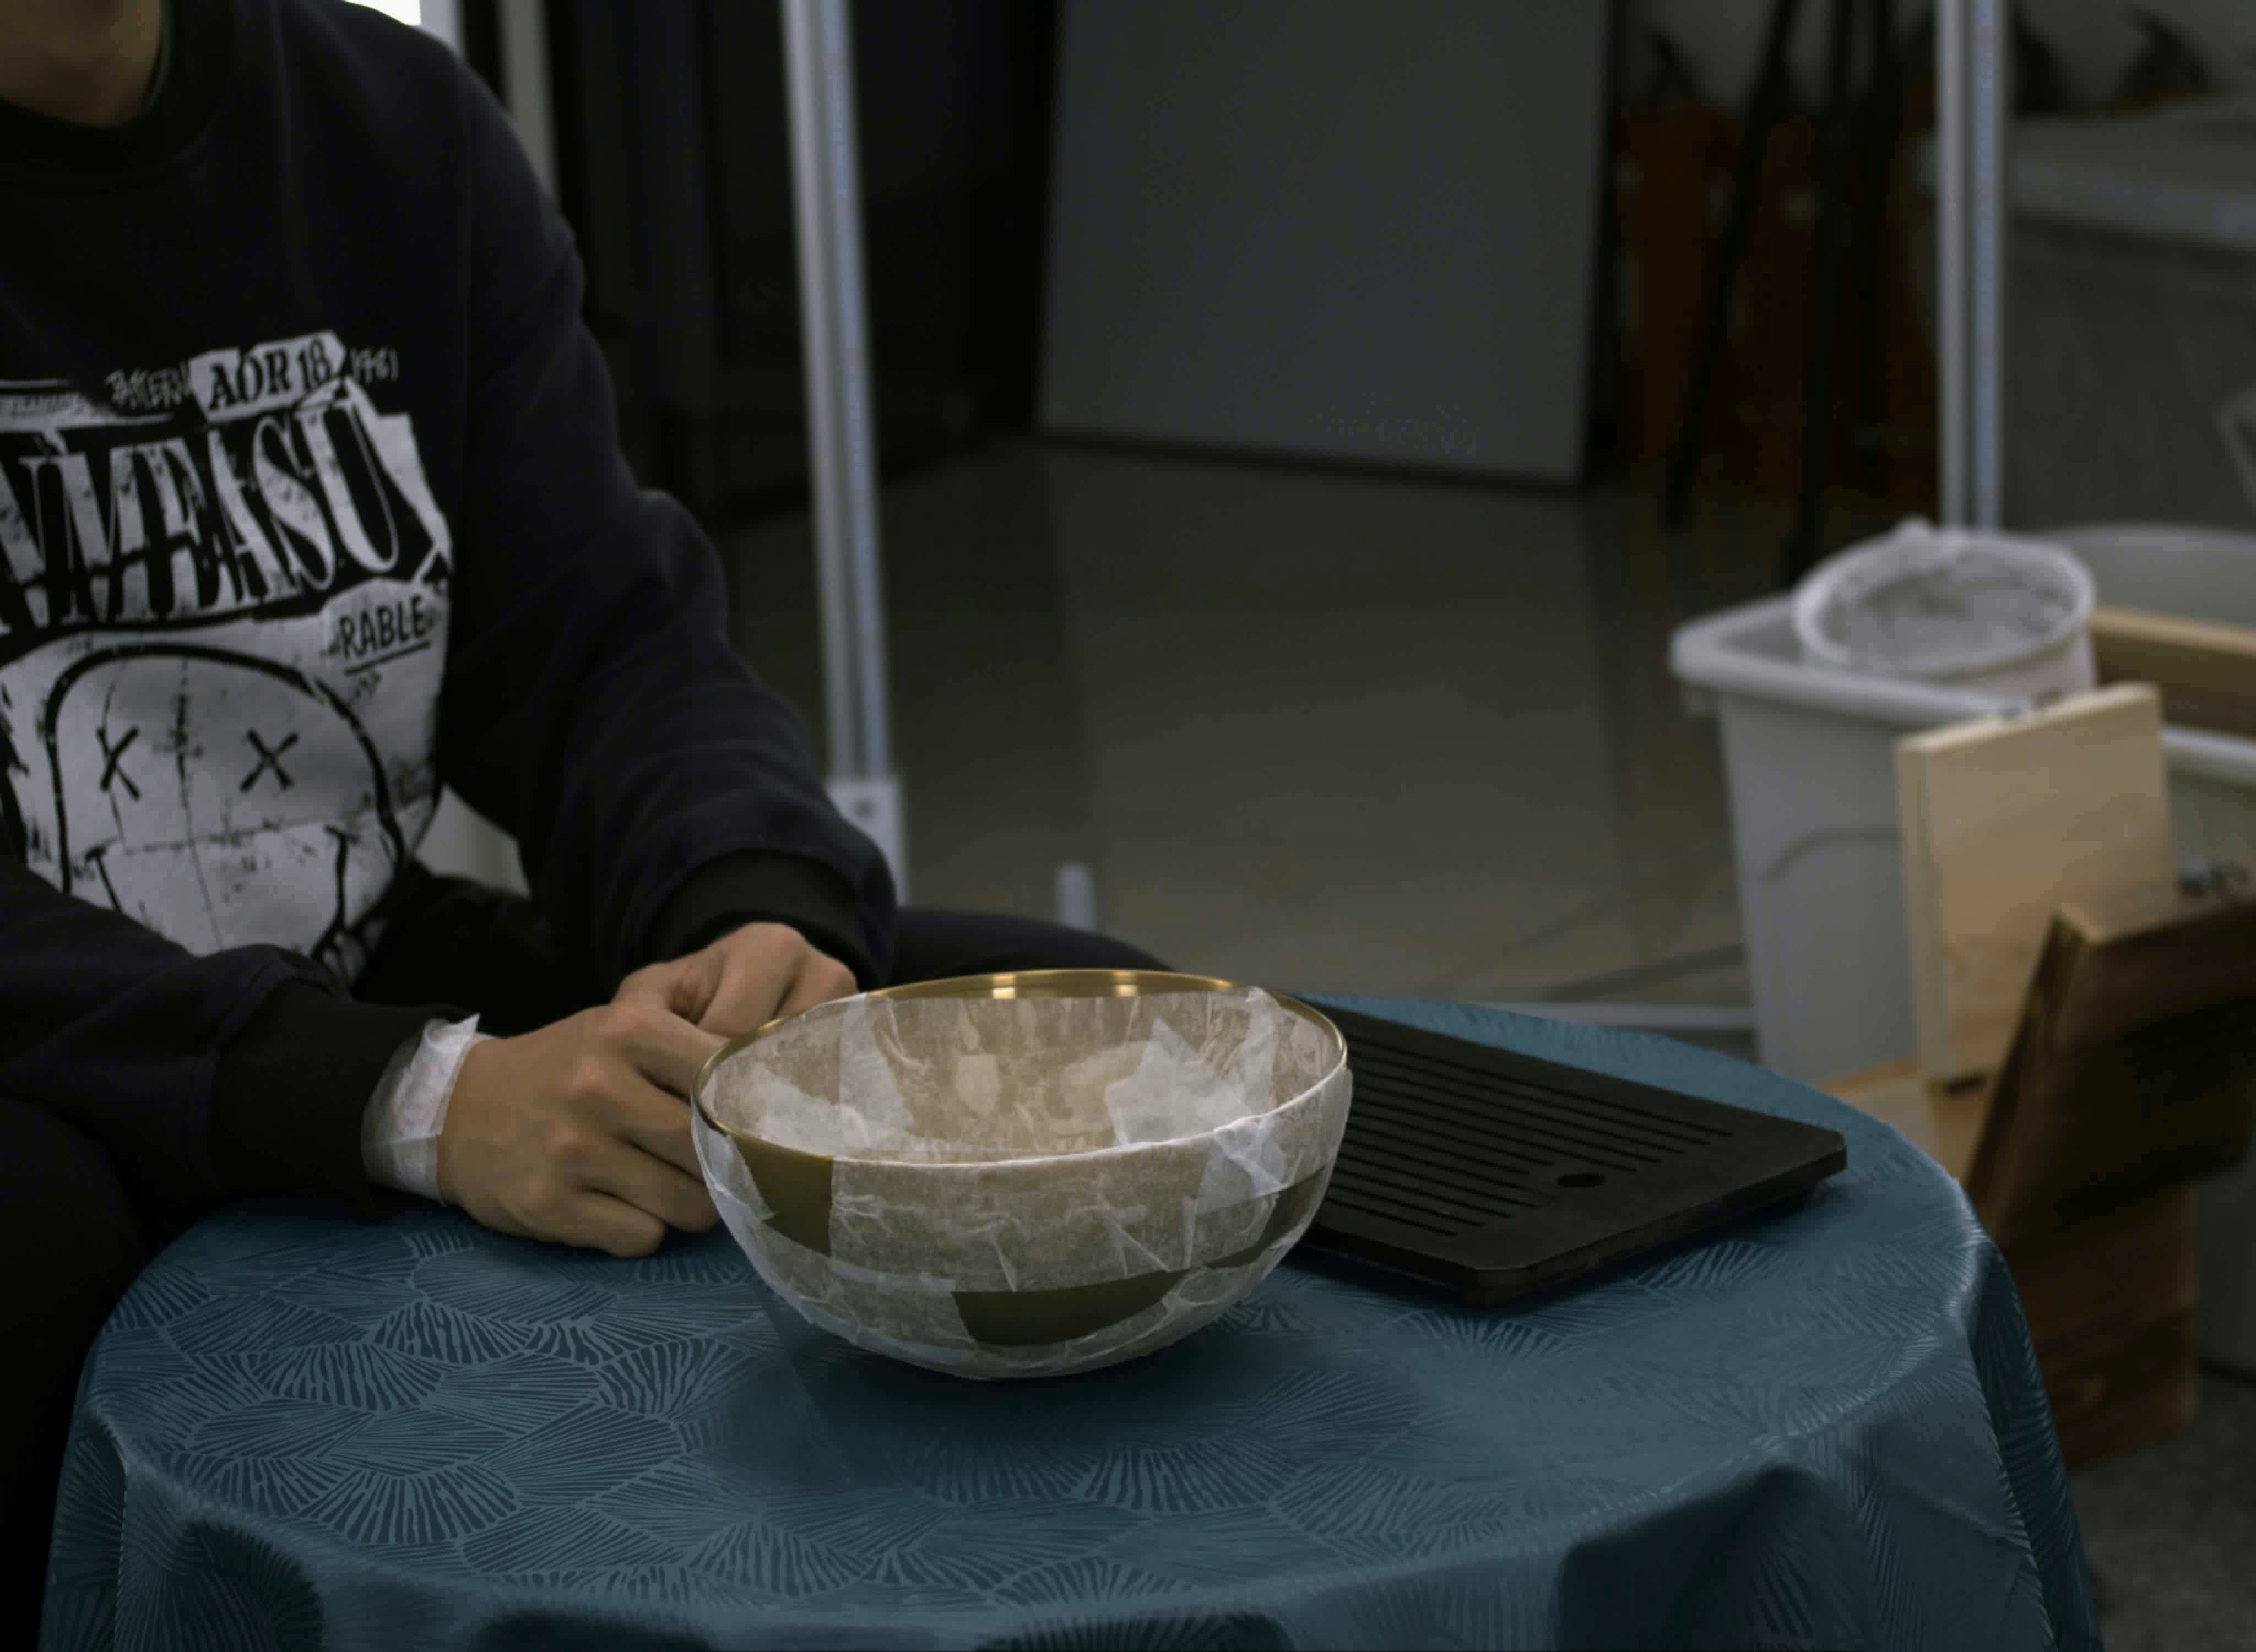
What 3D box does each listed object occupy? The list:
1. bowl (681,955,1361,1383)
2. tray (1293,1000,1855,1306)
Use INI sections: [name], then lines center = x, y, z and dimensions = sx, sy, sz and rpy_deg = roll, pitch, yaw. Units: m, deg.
[bowl]
center = -0.029, 0.111, 1.627
dimensions = 0.212, 0.095, 0.215
rpy_deg = -5, 15, 0
[tray]
center = 0.078, 0.104, 1.783
dimensions = 0.166, 0.019, 0.309
rpy_deg = -15, 17, -38
